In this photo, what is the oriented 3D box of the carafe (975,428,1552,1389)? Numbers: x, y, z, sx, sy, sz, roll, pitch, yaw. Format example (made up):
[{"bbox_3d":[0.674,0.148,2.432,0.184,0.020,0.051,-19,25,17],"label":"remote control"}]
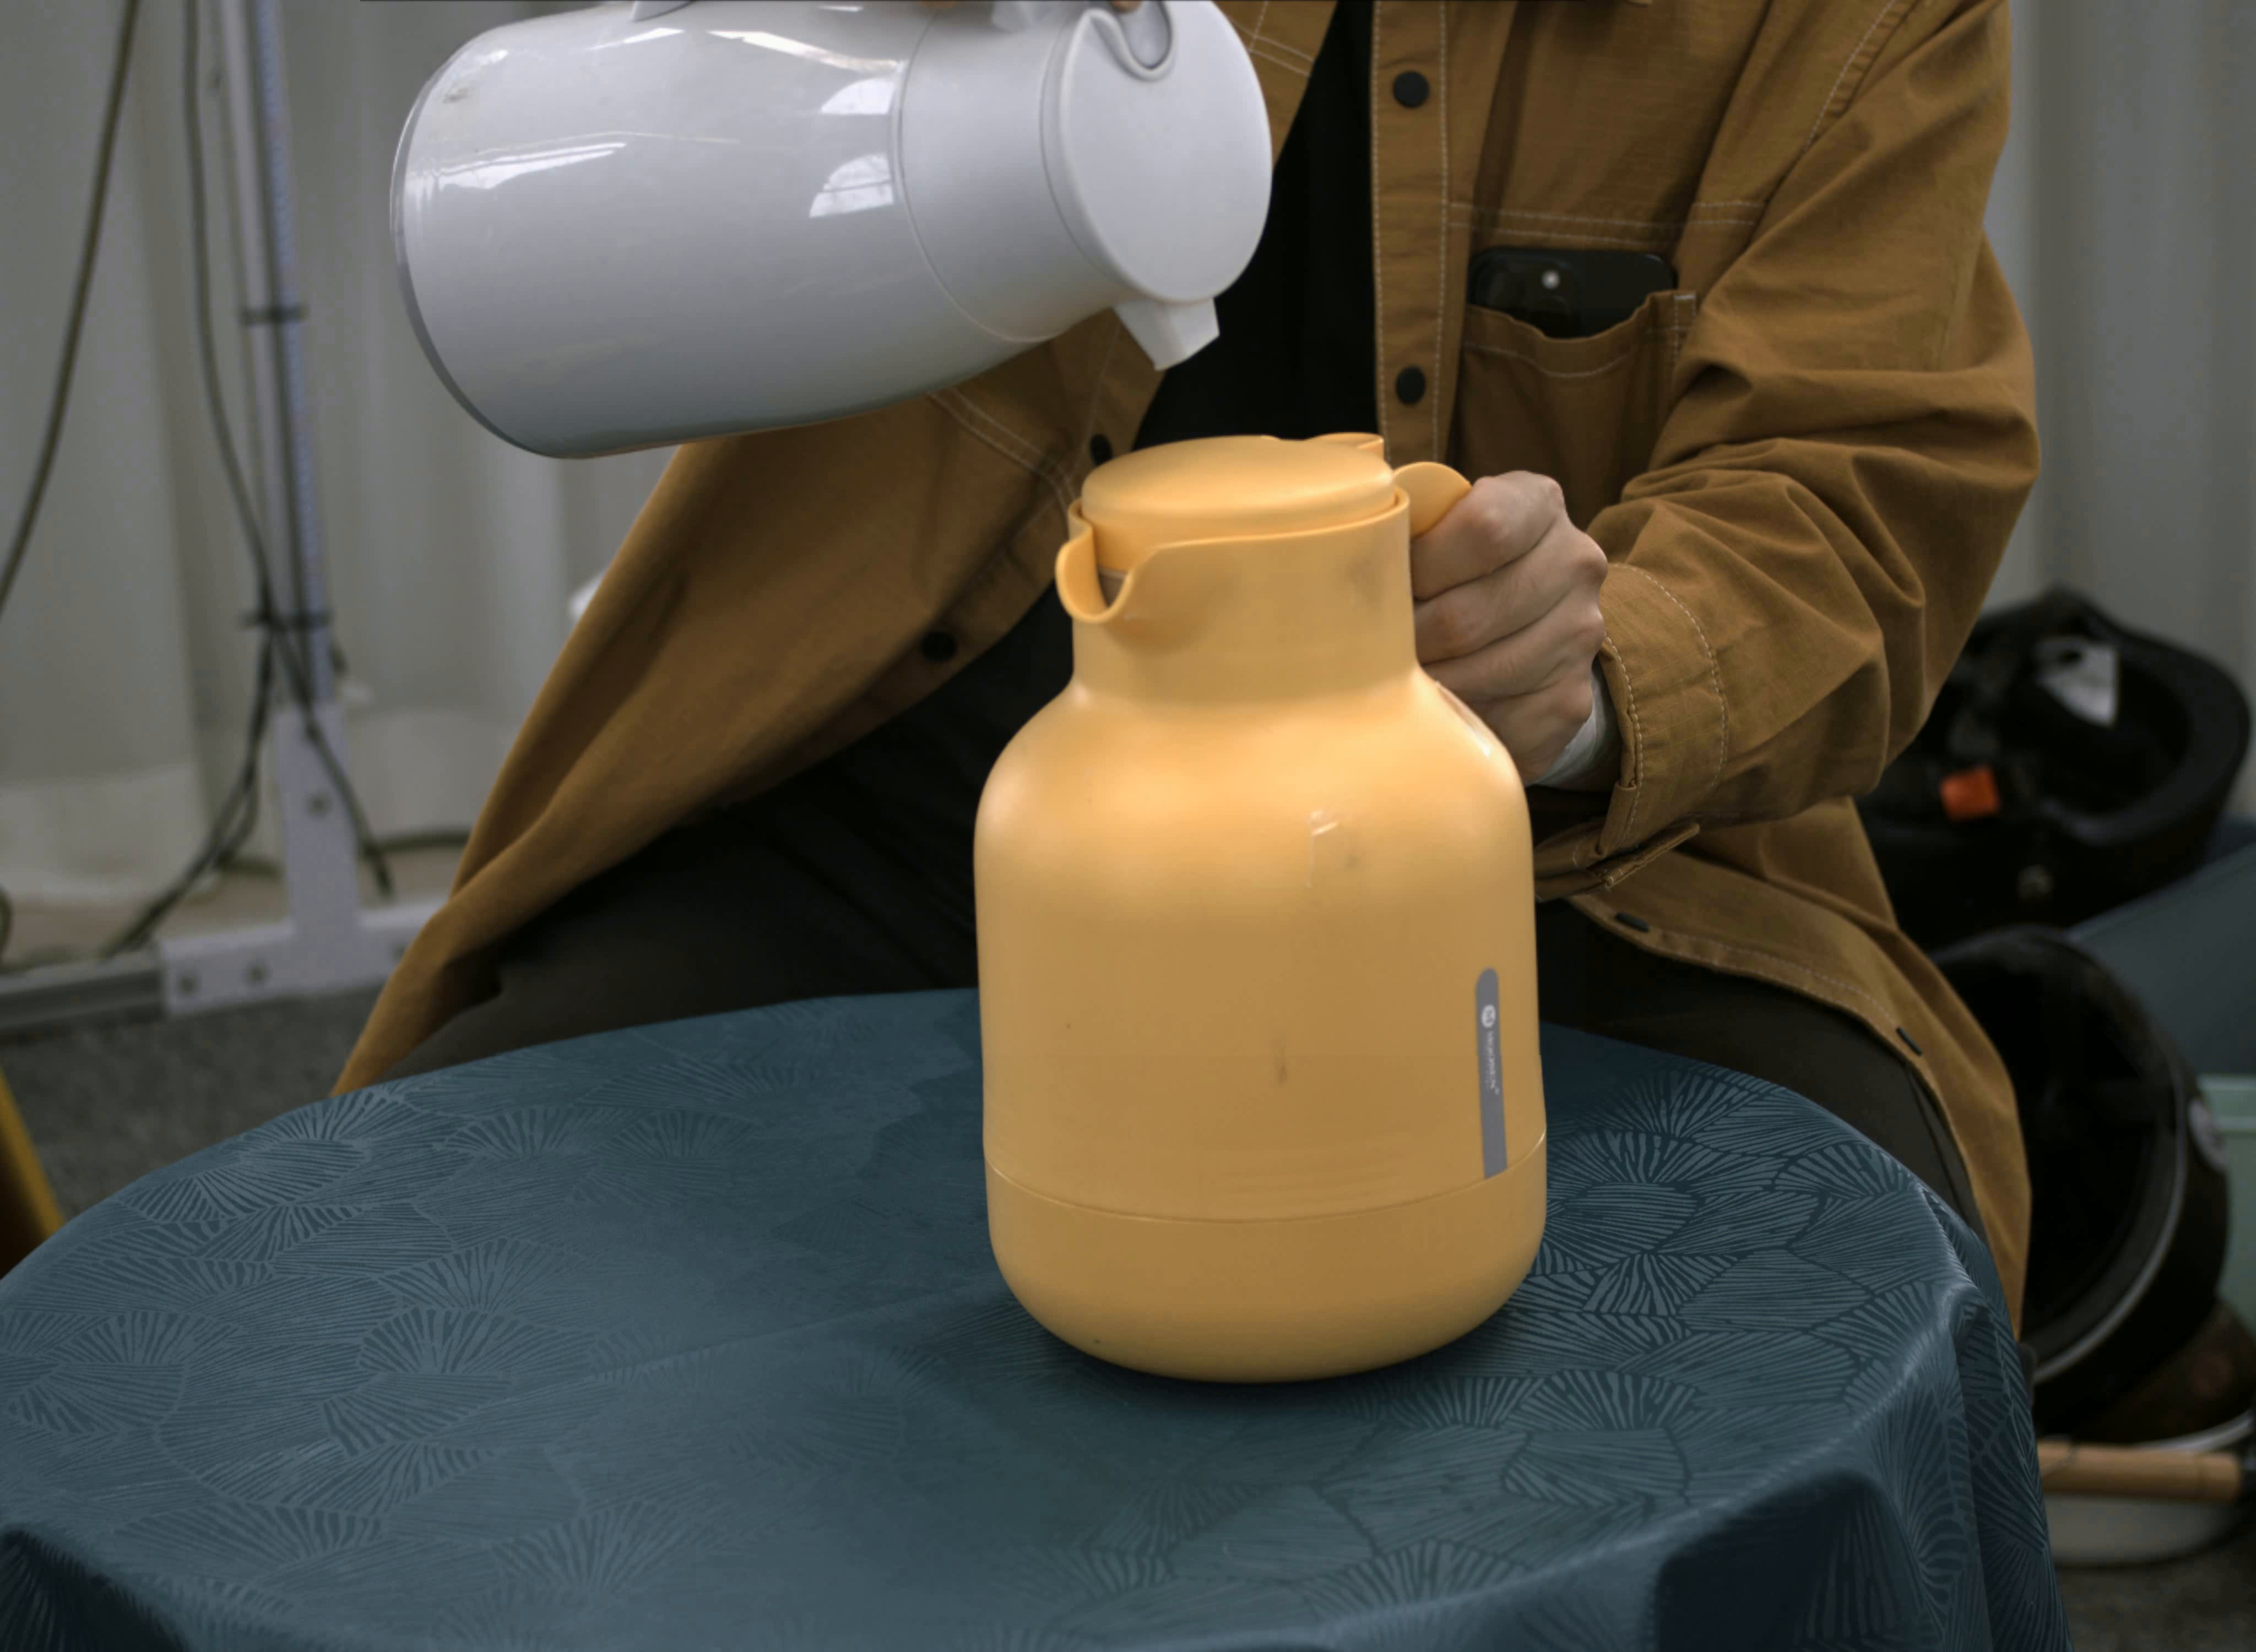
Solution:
[{"bbox_3d":[0.050,0.016,1.579,0.164,0.259,0.202,10,20,37],"label":"carafe"}]

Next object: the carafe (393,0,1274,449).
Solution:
[{"bbox_3d":[-0.085,-0.199,1.565,0.249,0.166,0.133,-3,26,40],"label":"carafe"}]
